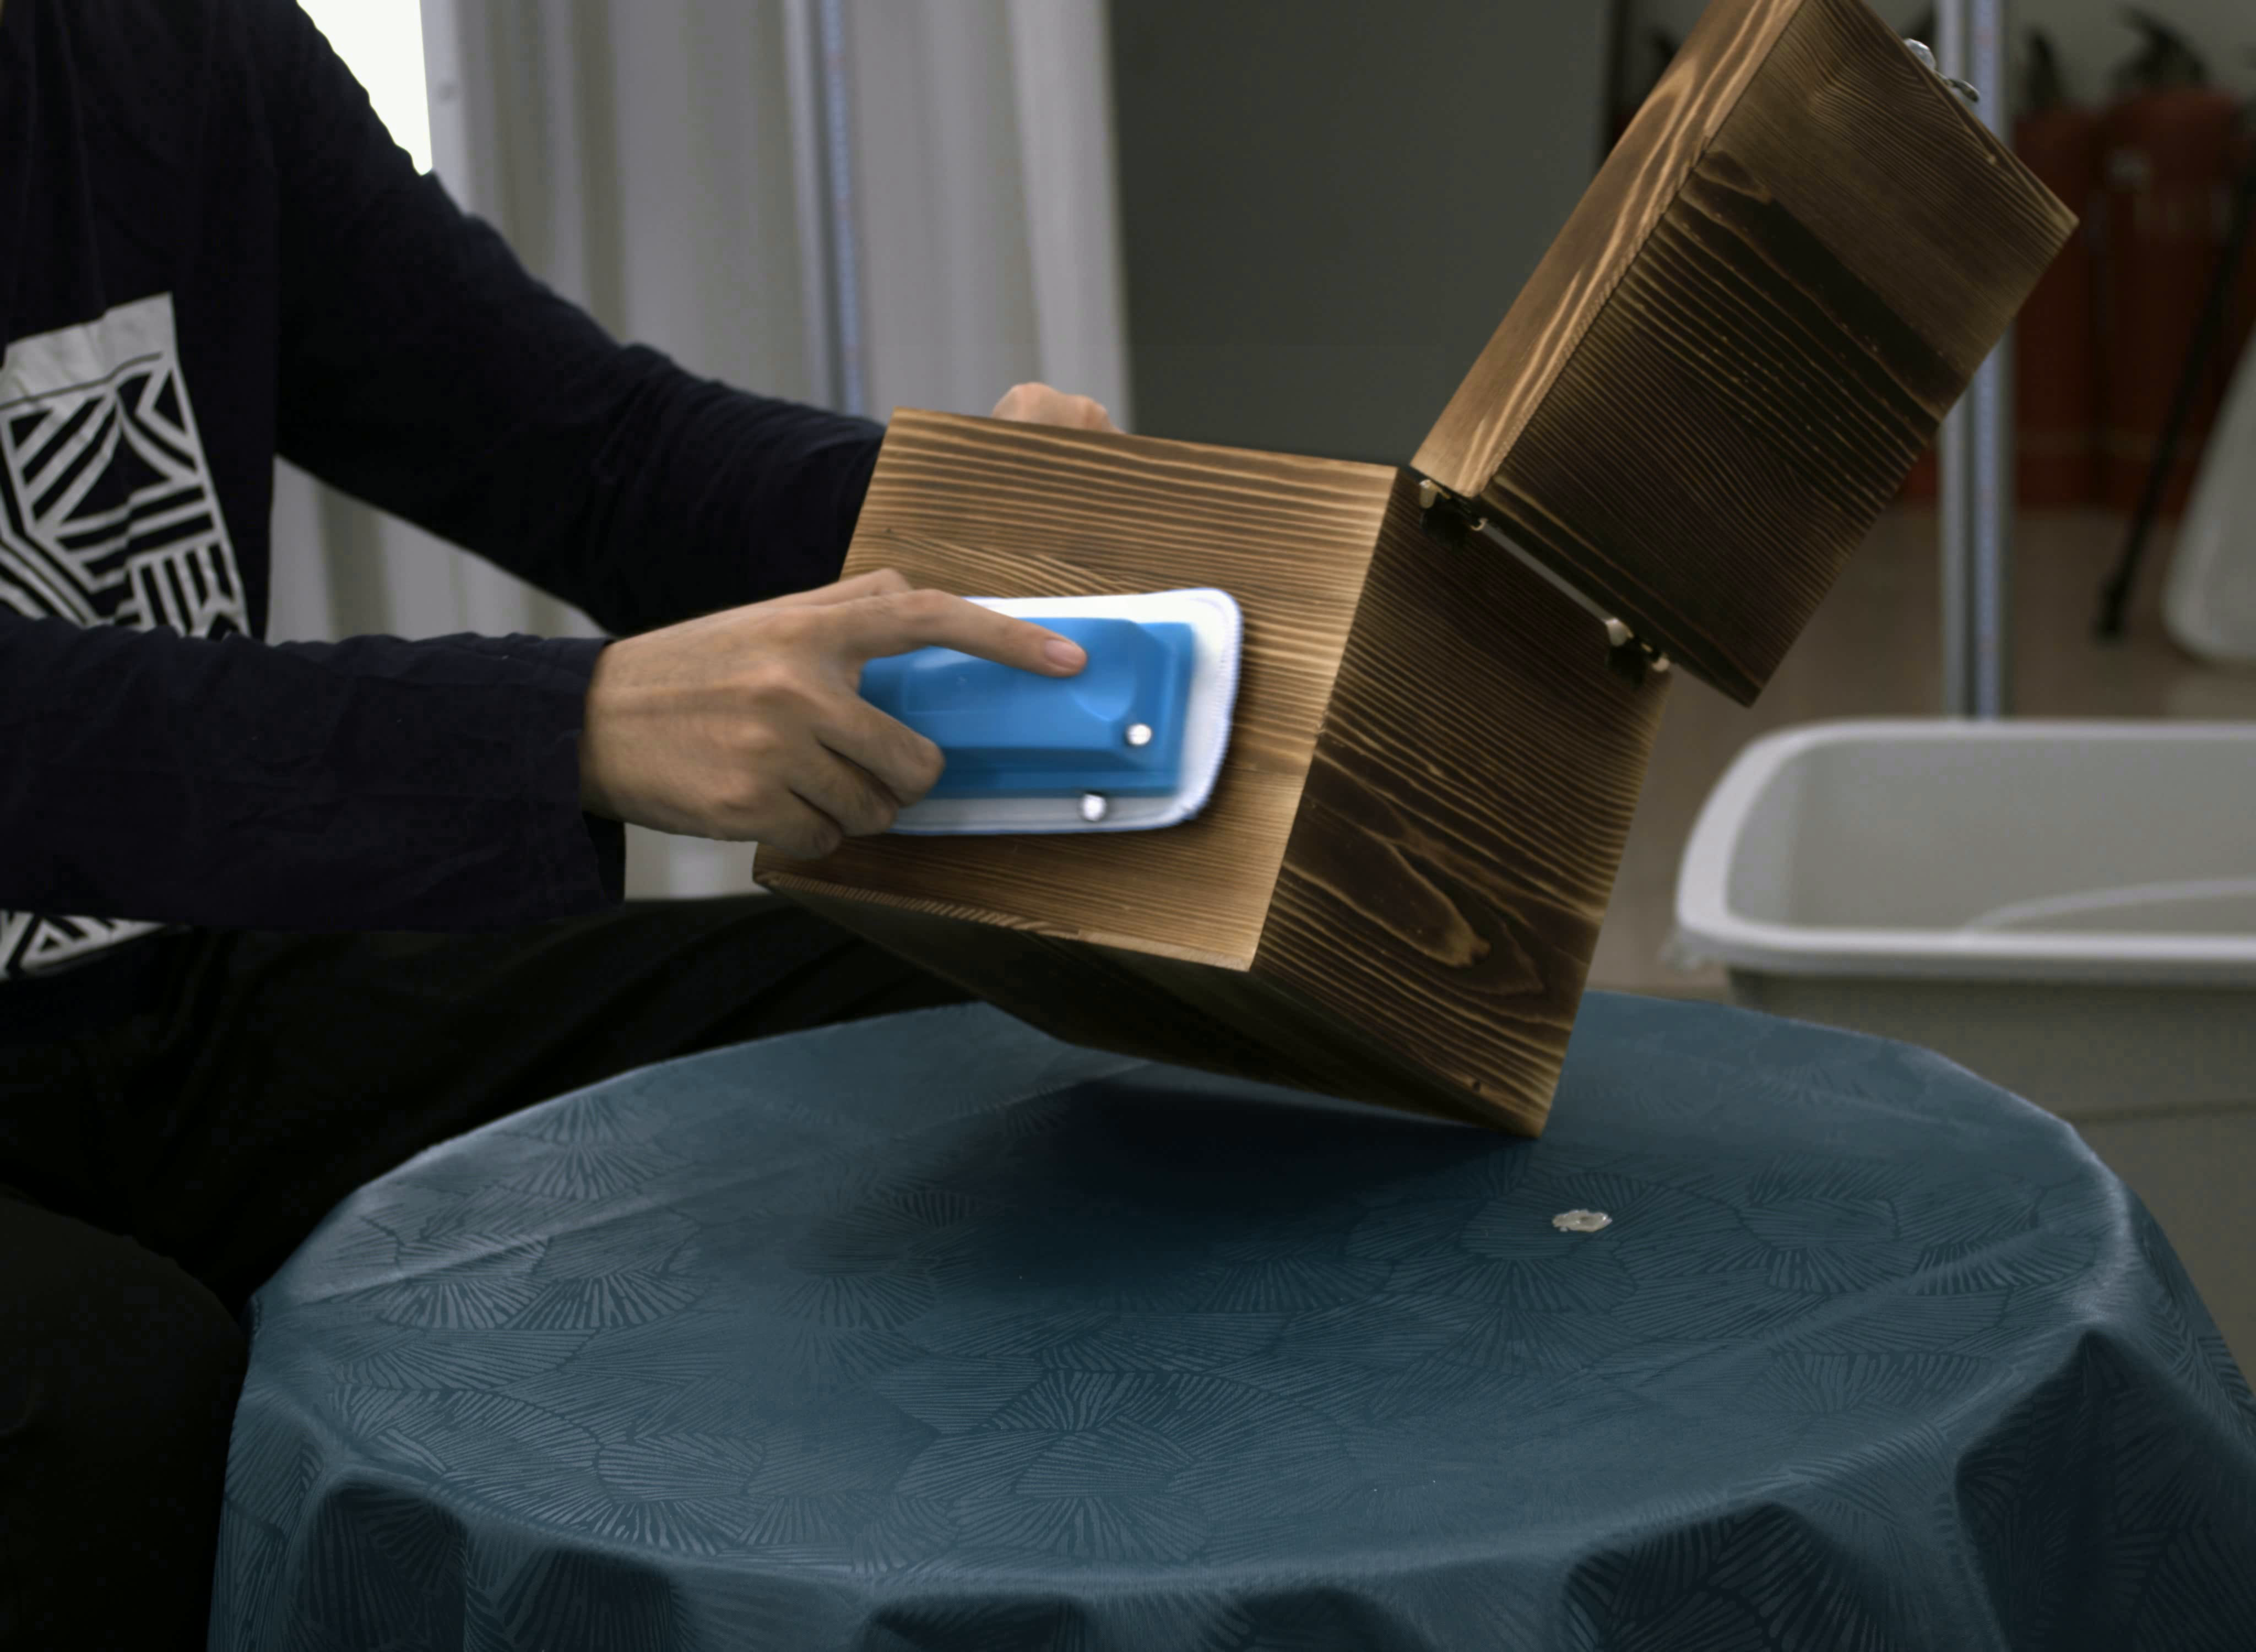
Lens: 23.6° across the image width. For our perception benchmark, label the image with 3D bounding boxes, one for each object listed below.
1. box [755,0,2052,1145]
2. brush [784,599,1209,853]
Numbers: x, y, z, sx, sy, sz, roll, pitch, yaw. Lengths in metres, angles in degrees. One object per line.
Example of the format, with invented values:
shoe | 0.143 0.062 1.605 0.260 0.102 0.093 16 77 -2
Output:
box | 0.097 -0.102 1.785 0.324 0.379 0.205 8 -13 36
brush | -0.047 -0.037 1.685 0.144 0.085 0.055 -1 -23 29
